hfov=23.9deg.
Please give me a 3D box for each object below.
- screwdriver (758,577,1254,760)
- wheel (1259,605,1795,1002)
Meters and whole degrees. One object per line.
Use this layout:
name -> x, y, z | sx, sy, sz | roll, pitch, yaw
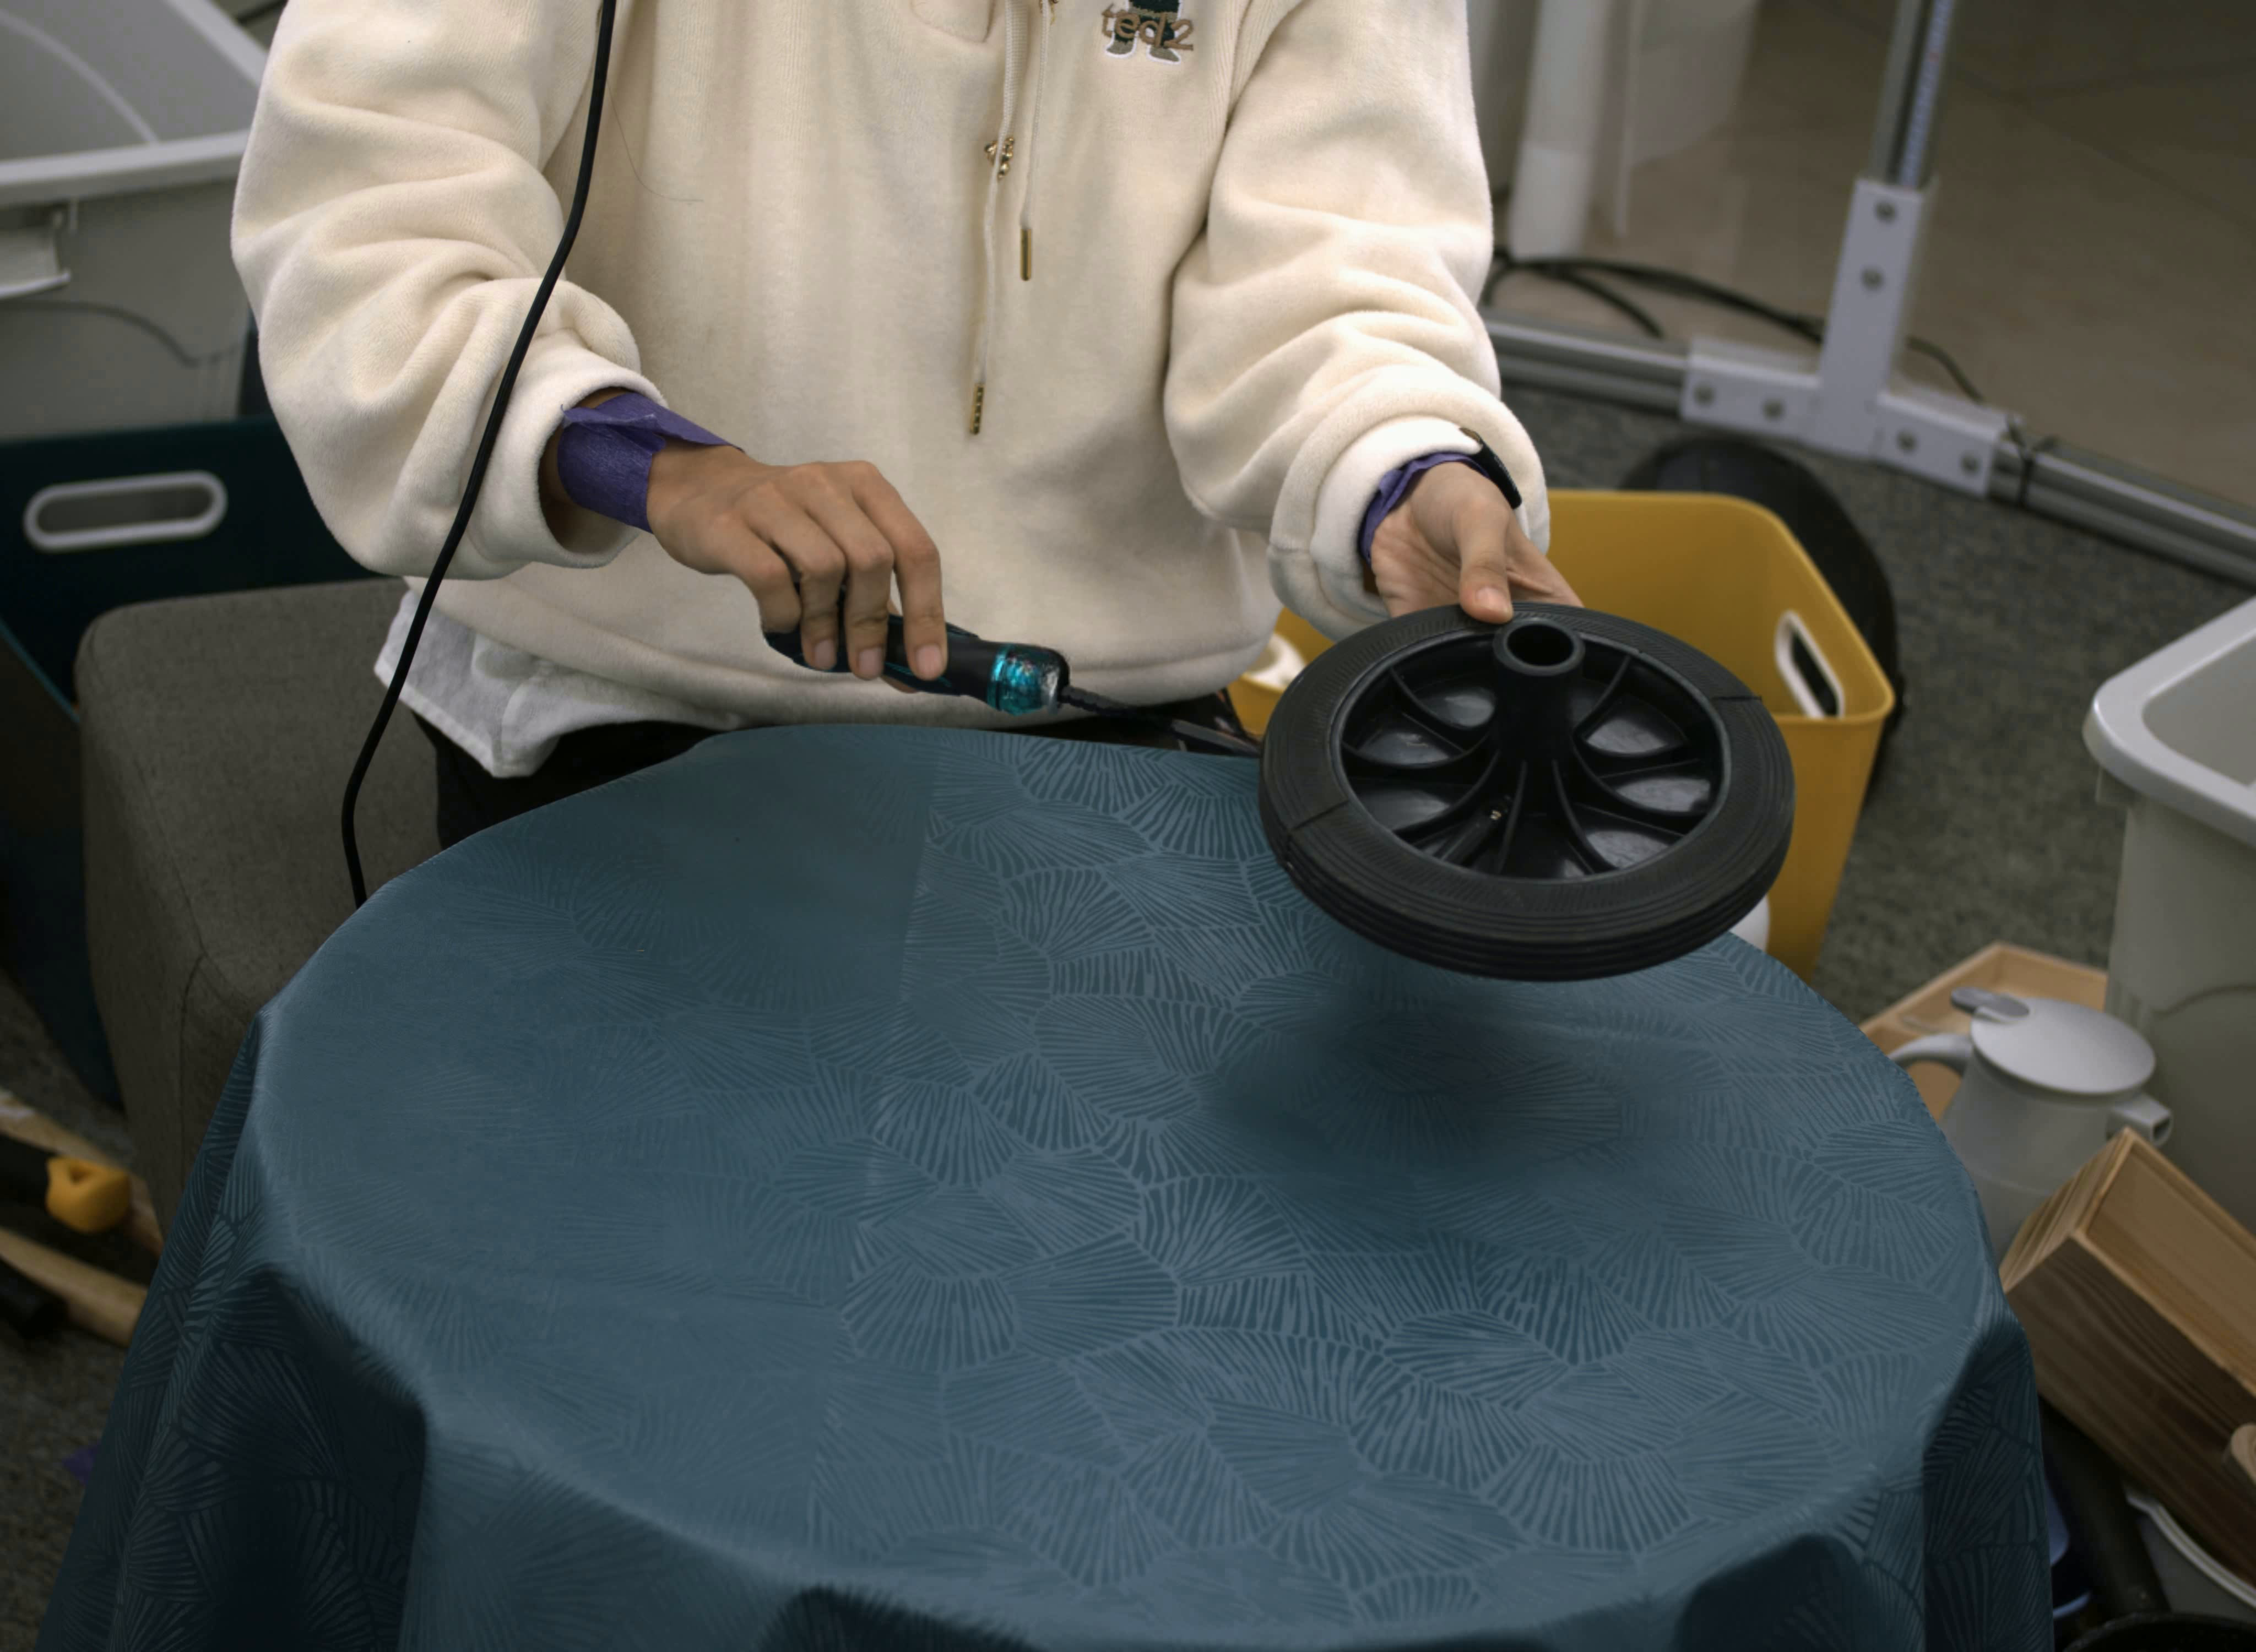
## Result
screwdriver -> -0.044, -0.051, 1.898 | 0.190, 0.033, 0.034 | 17, 28, 17
wheel -> 0.139, -0.026, 1.846 | 0.187, 0.078, 0.191 | 8, 43, 8
